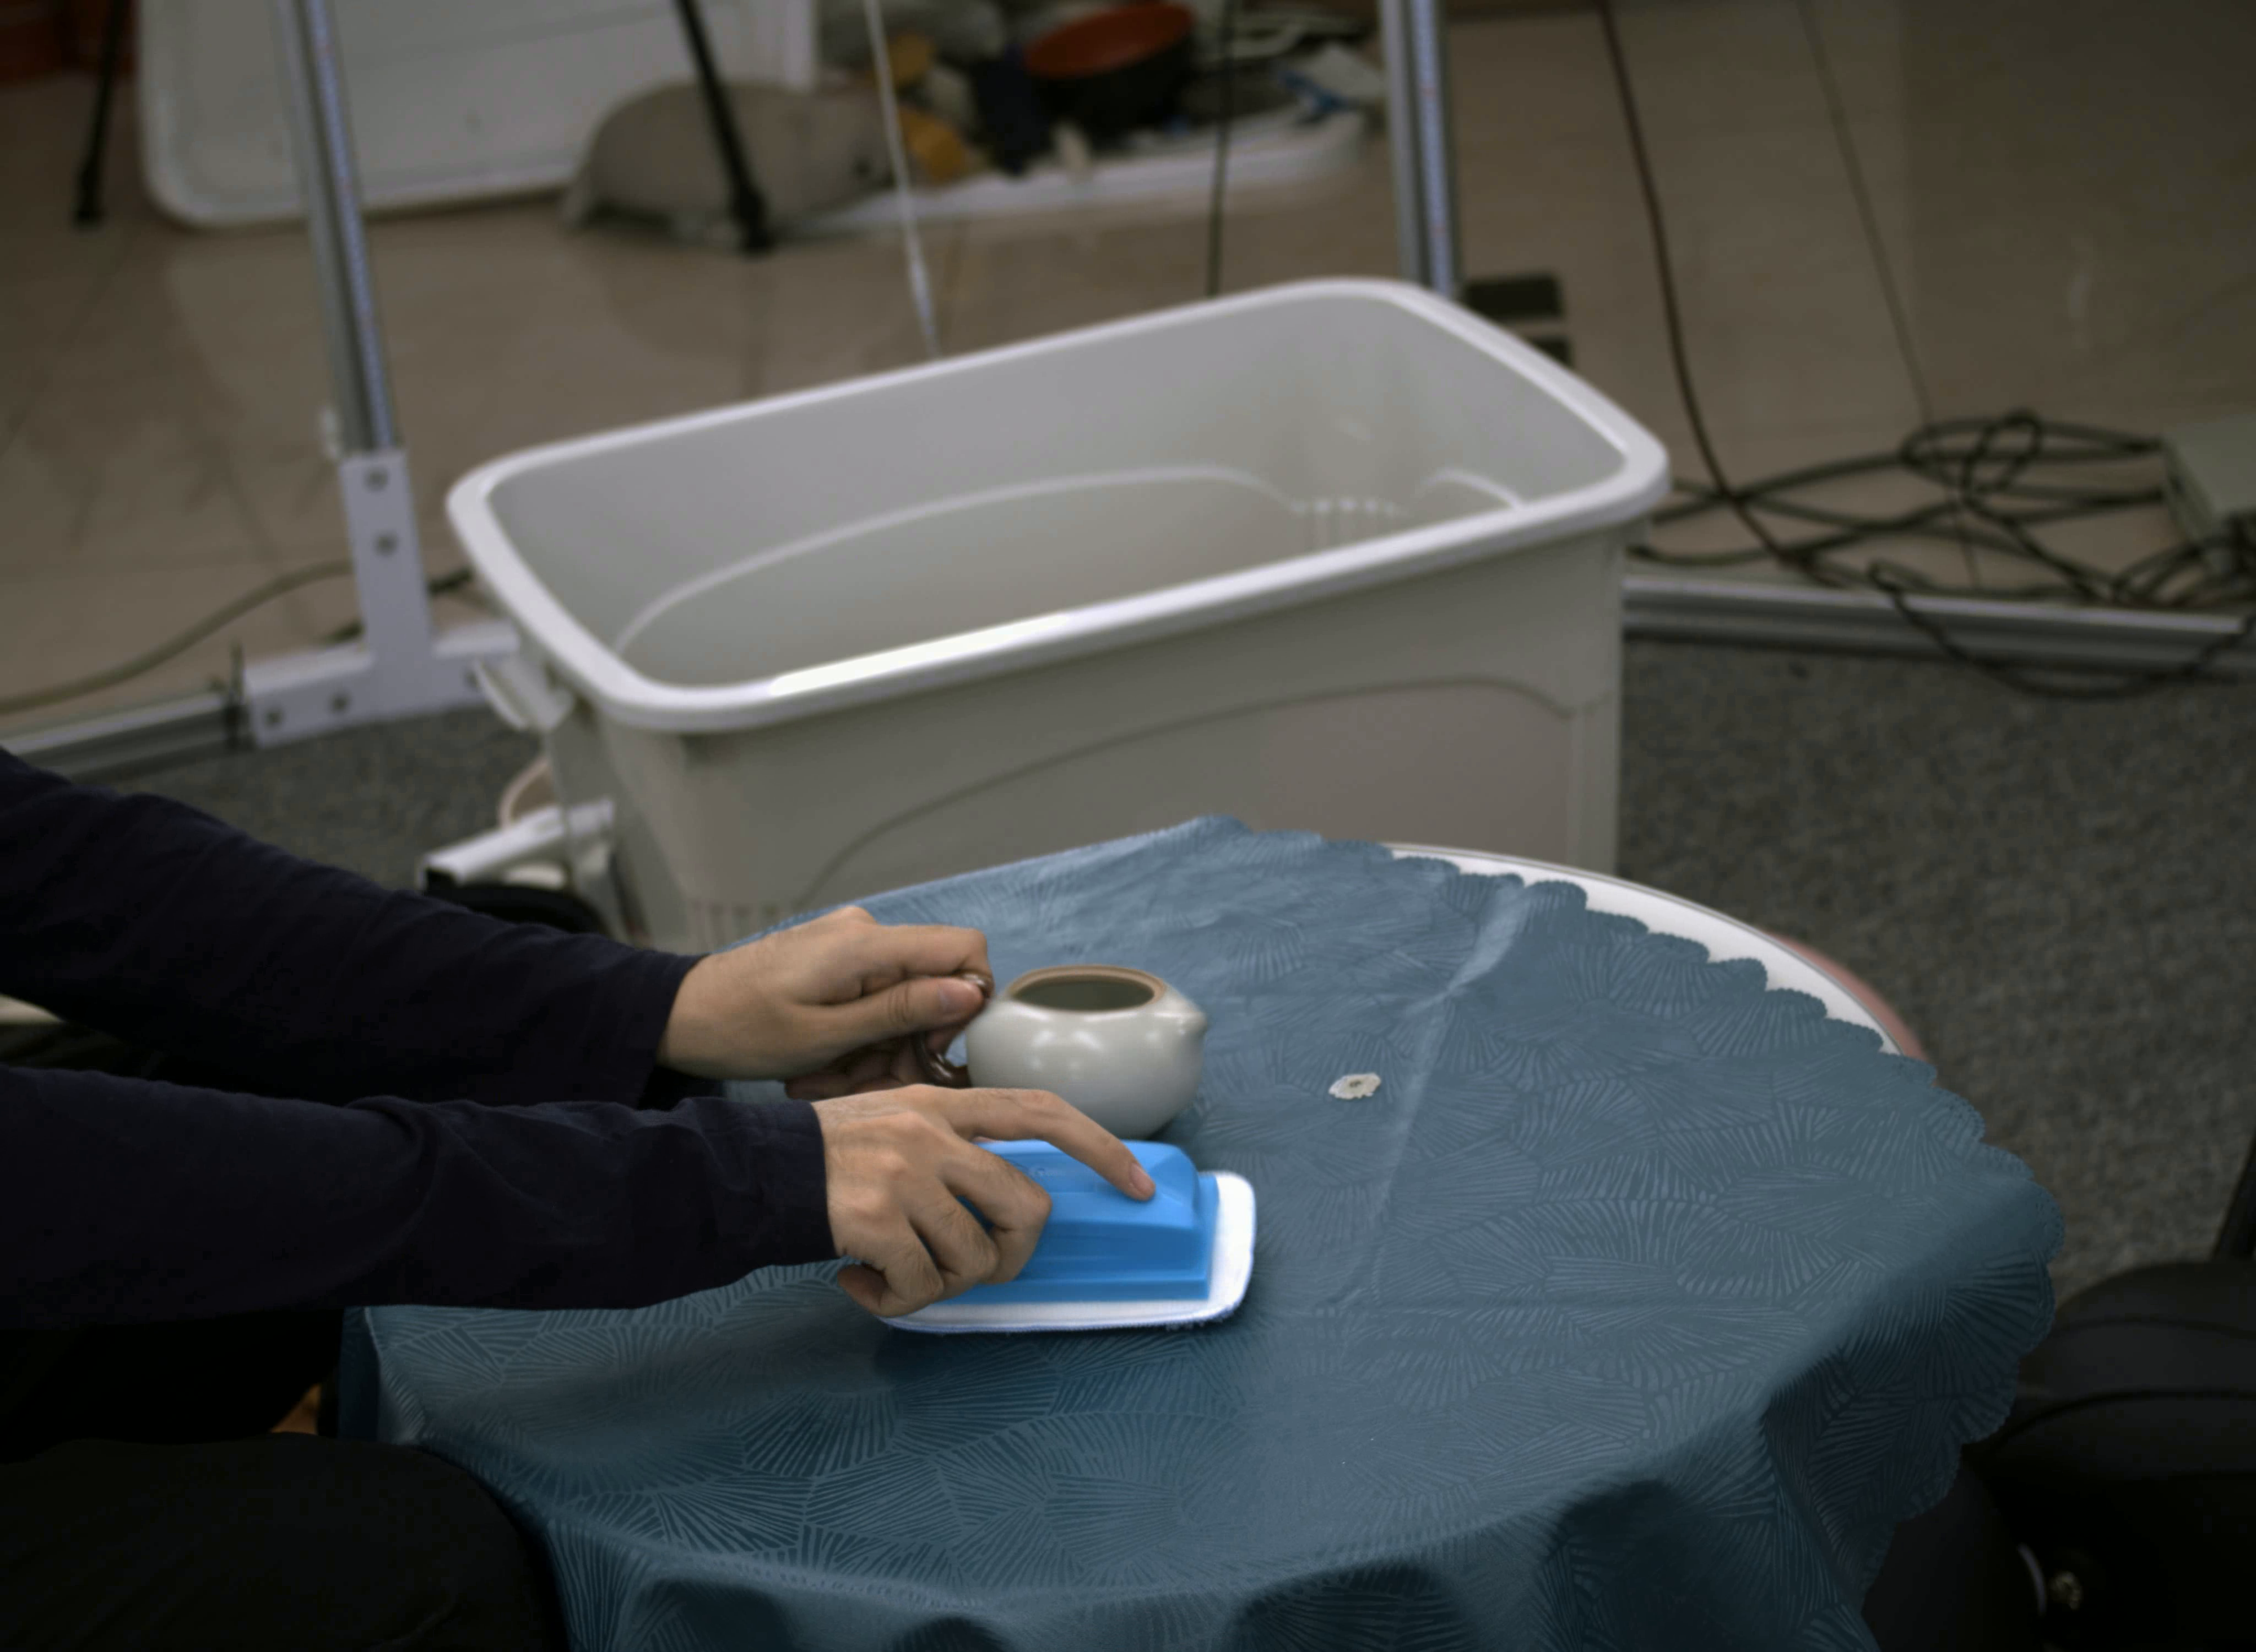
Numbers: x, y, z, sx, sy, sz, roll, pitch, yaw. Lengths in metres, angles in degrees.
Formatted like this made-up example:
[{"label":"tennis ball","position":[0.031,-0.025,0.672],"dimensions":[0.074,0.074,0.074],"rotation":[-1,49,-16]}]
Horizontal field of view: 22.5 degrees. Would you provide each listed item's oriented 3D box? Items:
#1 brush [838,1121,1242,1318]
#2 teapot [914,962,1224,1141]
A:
[{"label":"brush","position":[-0.032,0.141,2.065],"dimensions":[0.143,0.057,0.082],"rotation":[2,34,8]},{"label":"teapot","position":[-0.023,0.088,2.183],"dimensions":[0.127,0.060,0.091],"rotation":[8,24,19]}]
